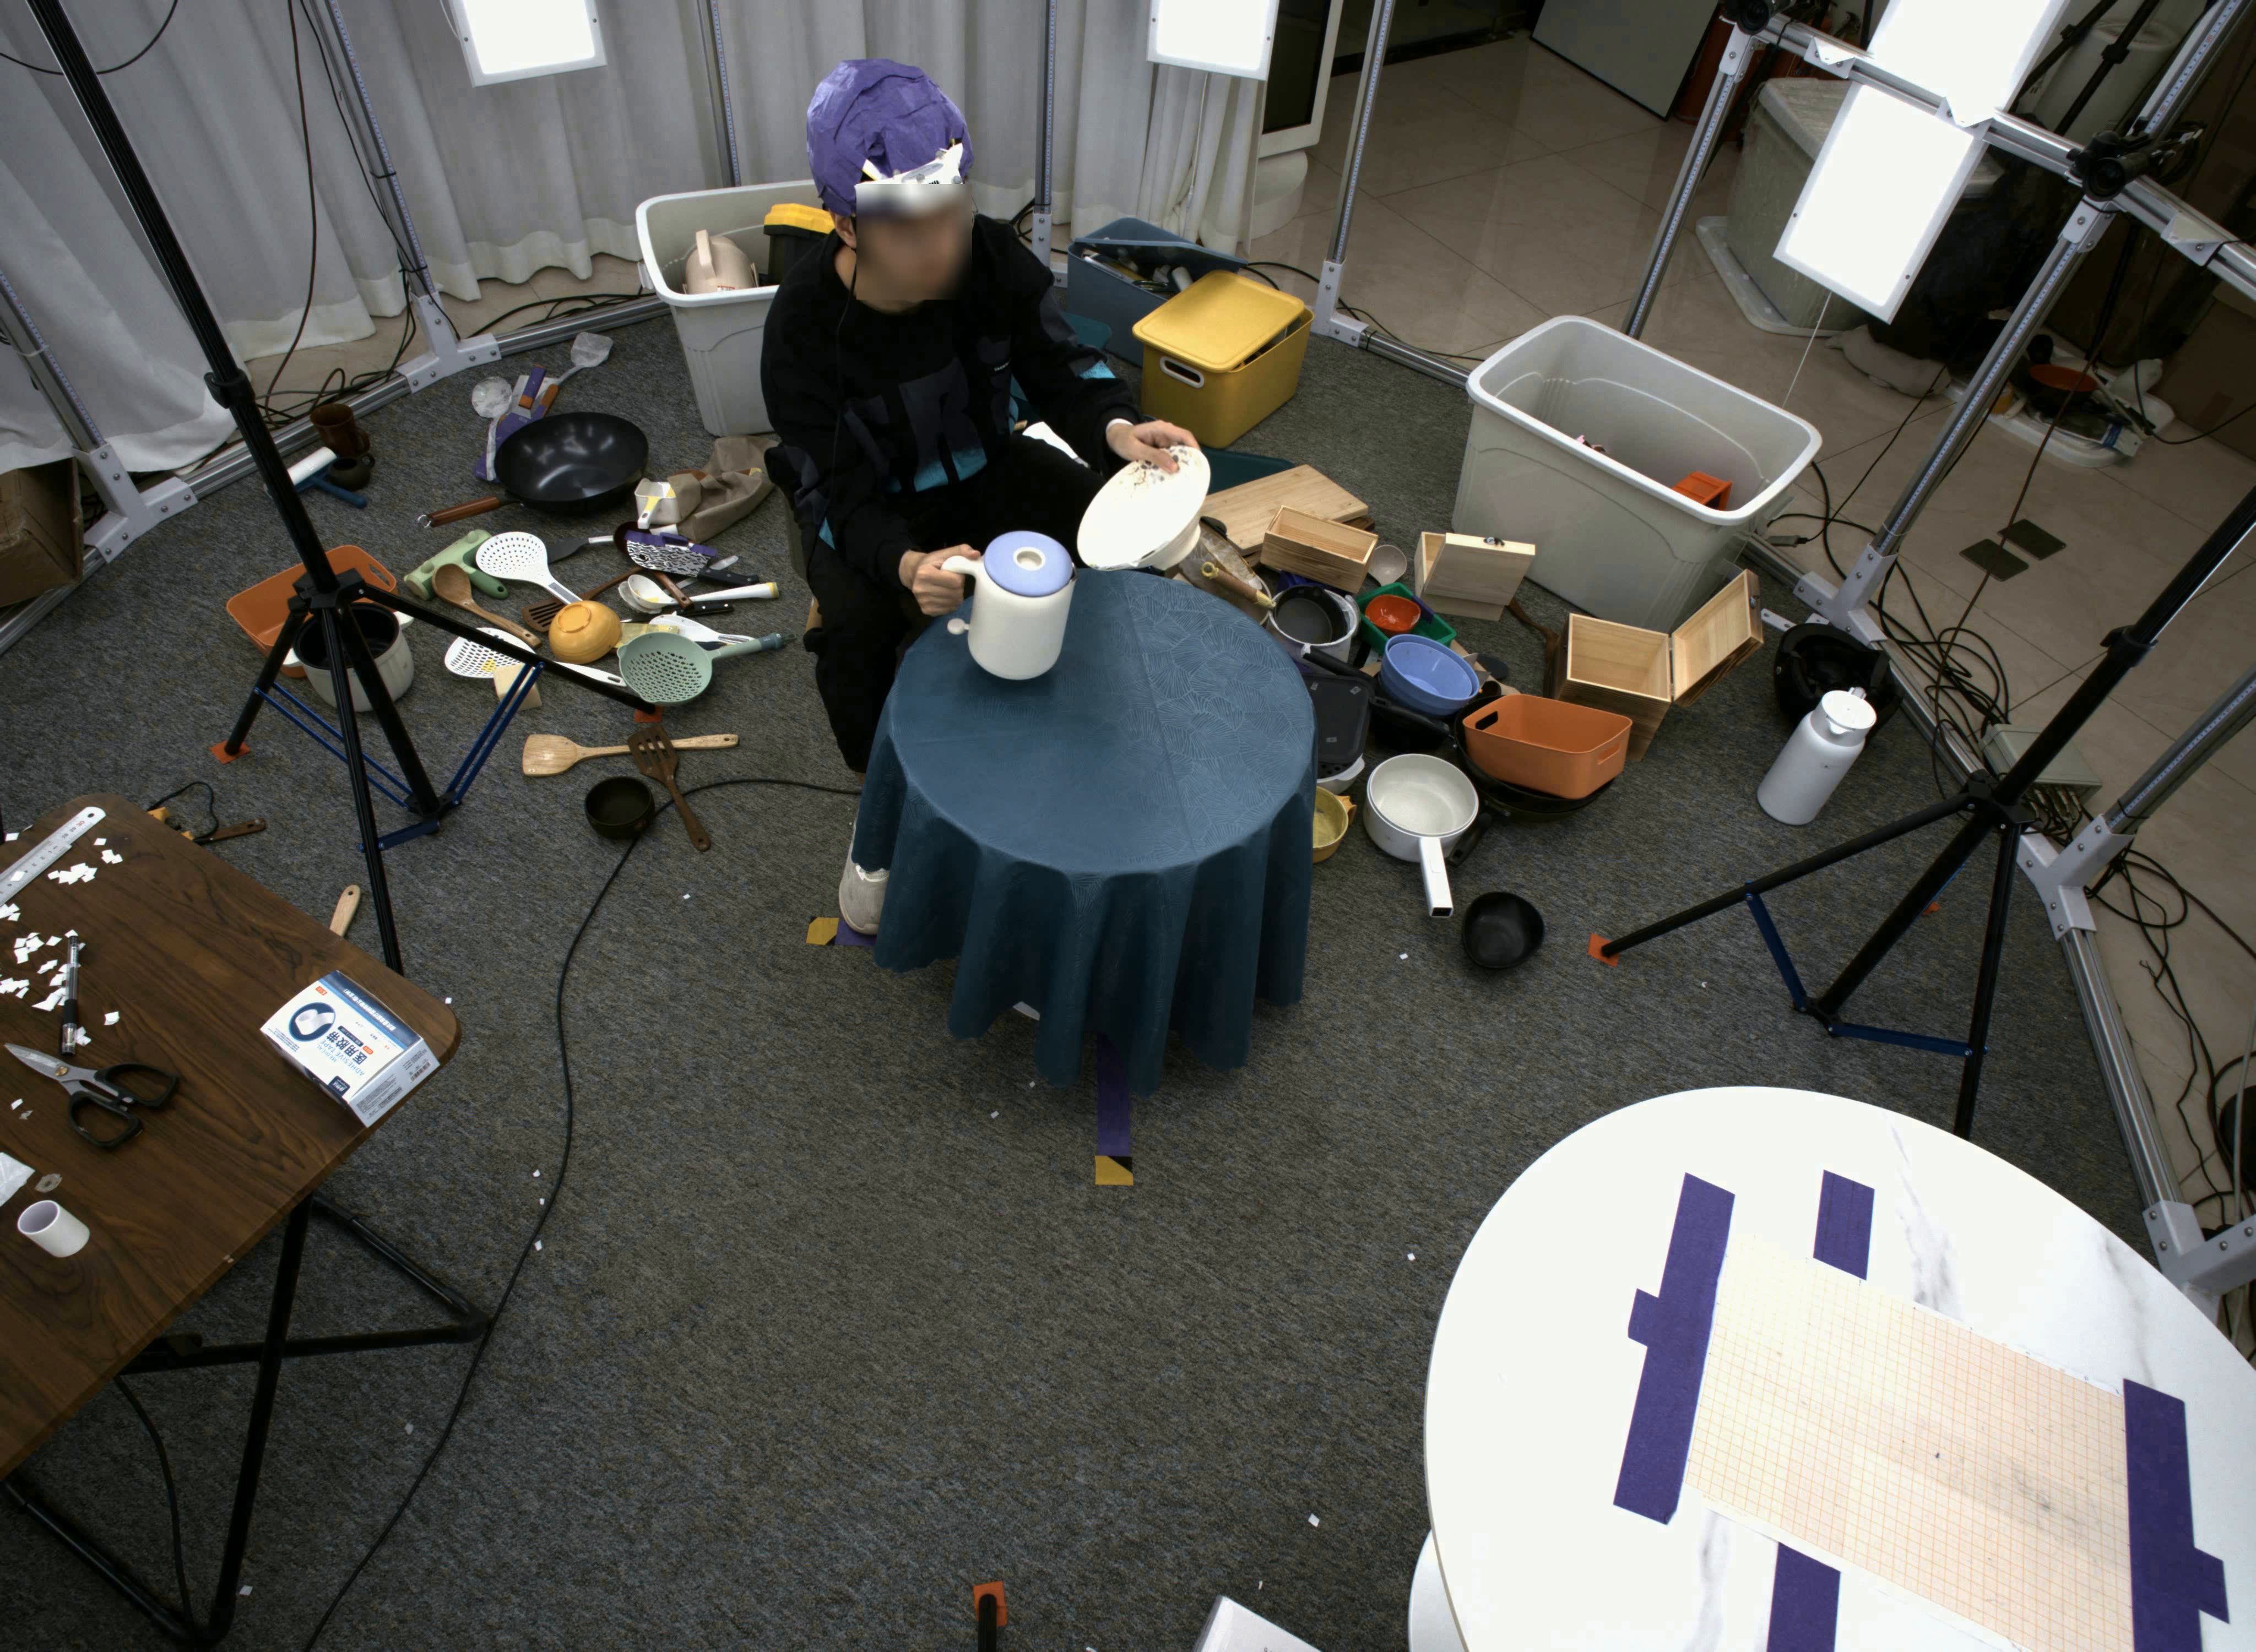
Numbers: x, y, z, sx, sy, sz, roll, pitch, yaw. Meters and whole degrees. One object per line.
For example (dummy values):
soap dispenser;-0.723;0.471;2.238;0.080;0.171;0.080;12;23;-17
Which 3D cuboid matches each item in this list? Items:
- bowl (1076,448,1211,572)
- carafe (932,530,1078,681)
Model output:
bowl;0.037;-0.386;1.662;0.203;0.076;0.209;-24;43;24
carafe;-0.170;-0.303;1.754;0.191;0.178;0.135;8;52;-3
